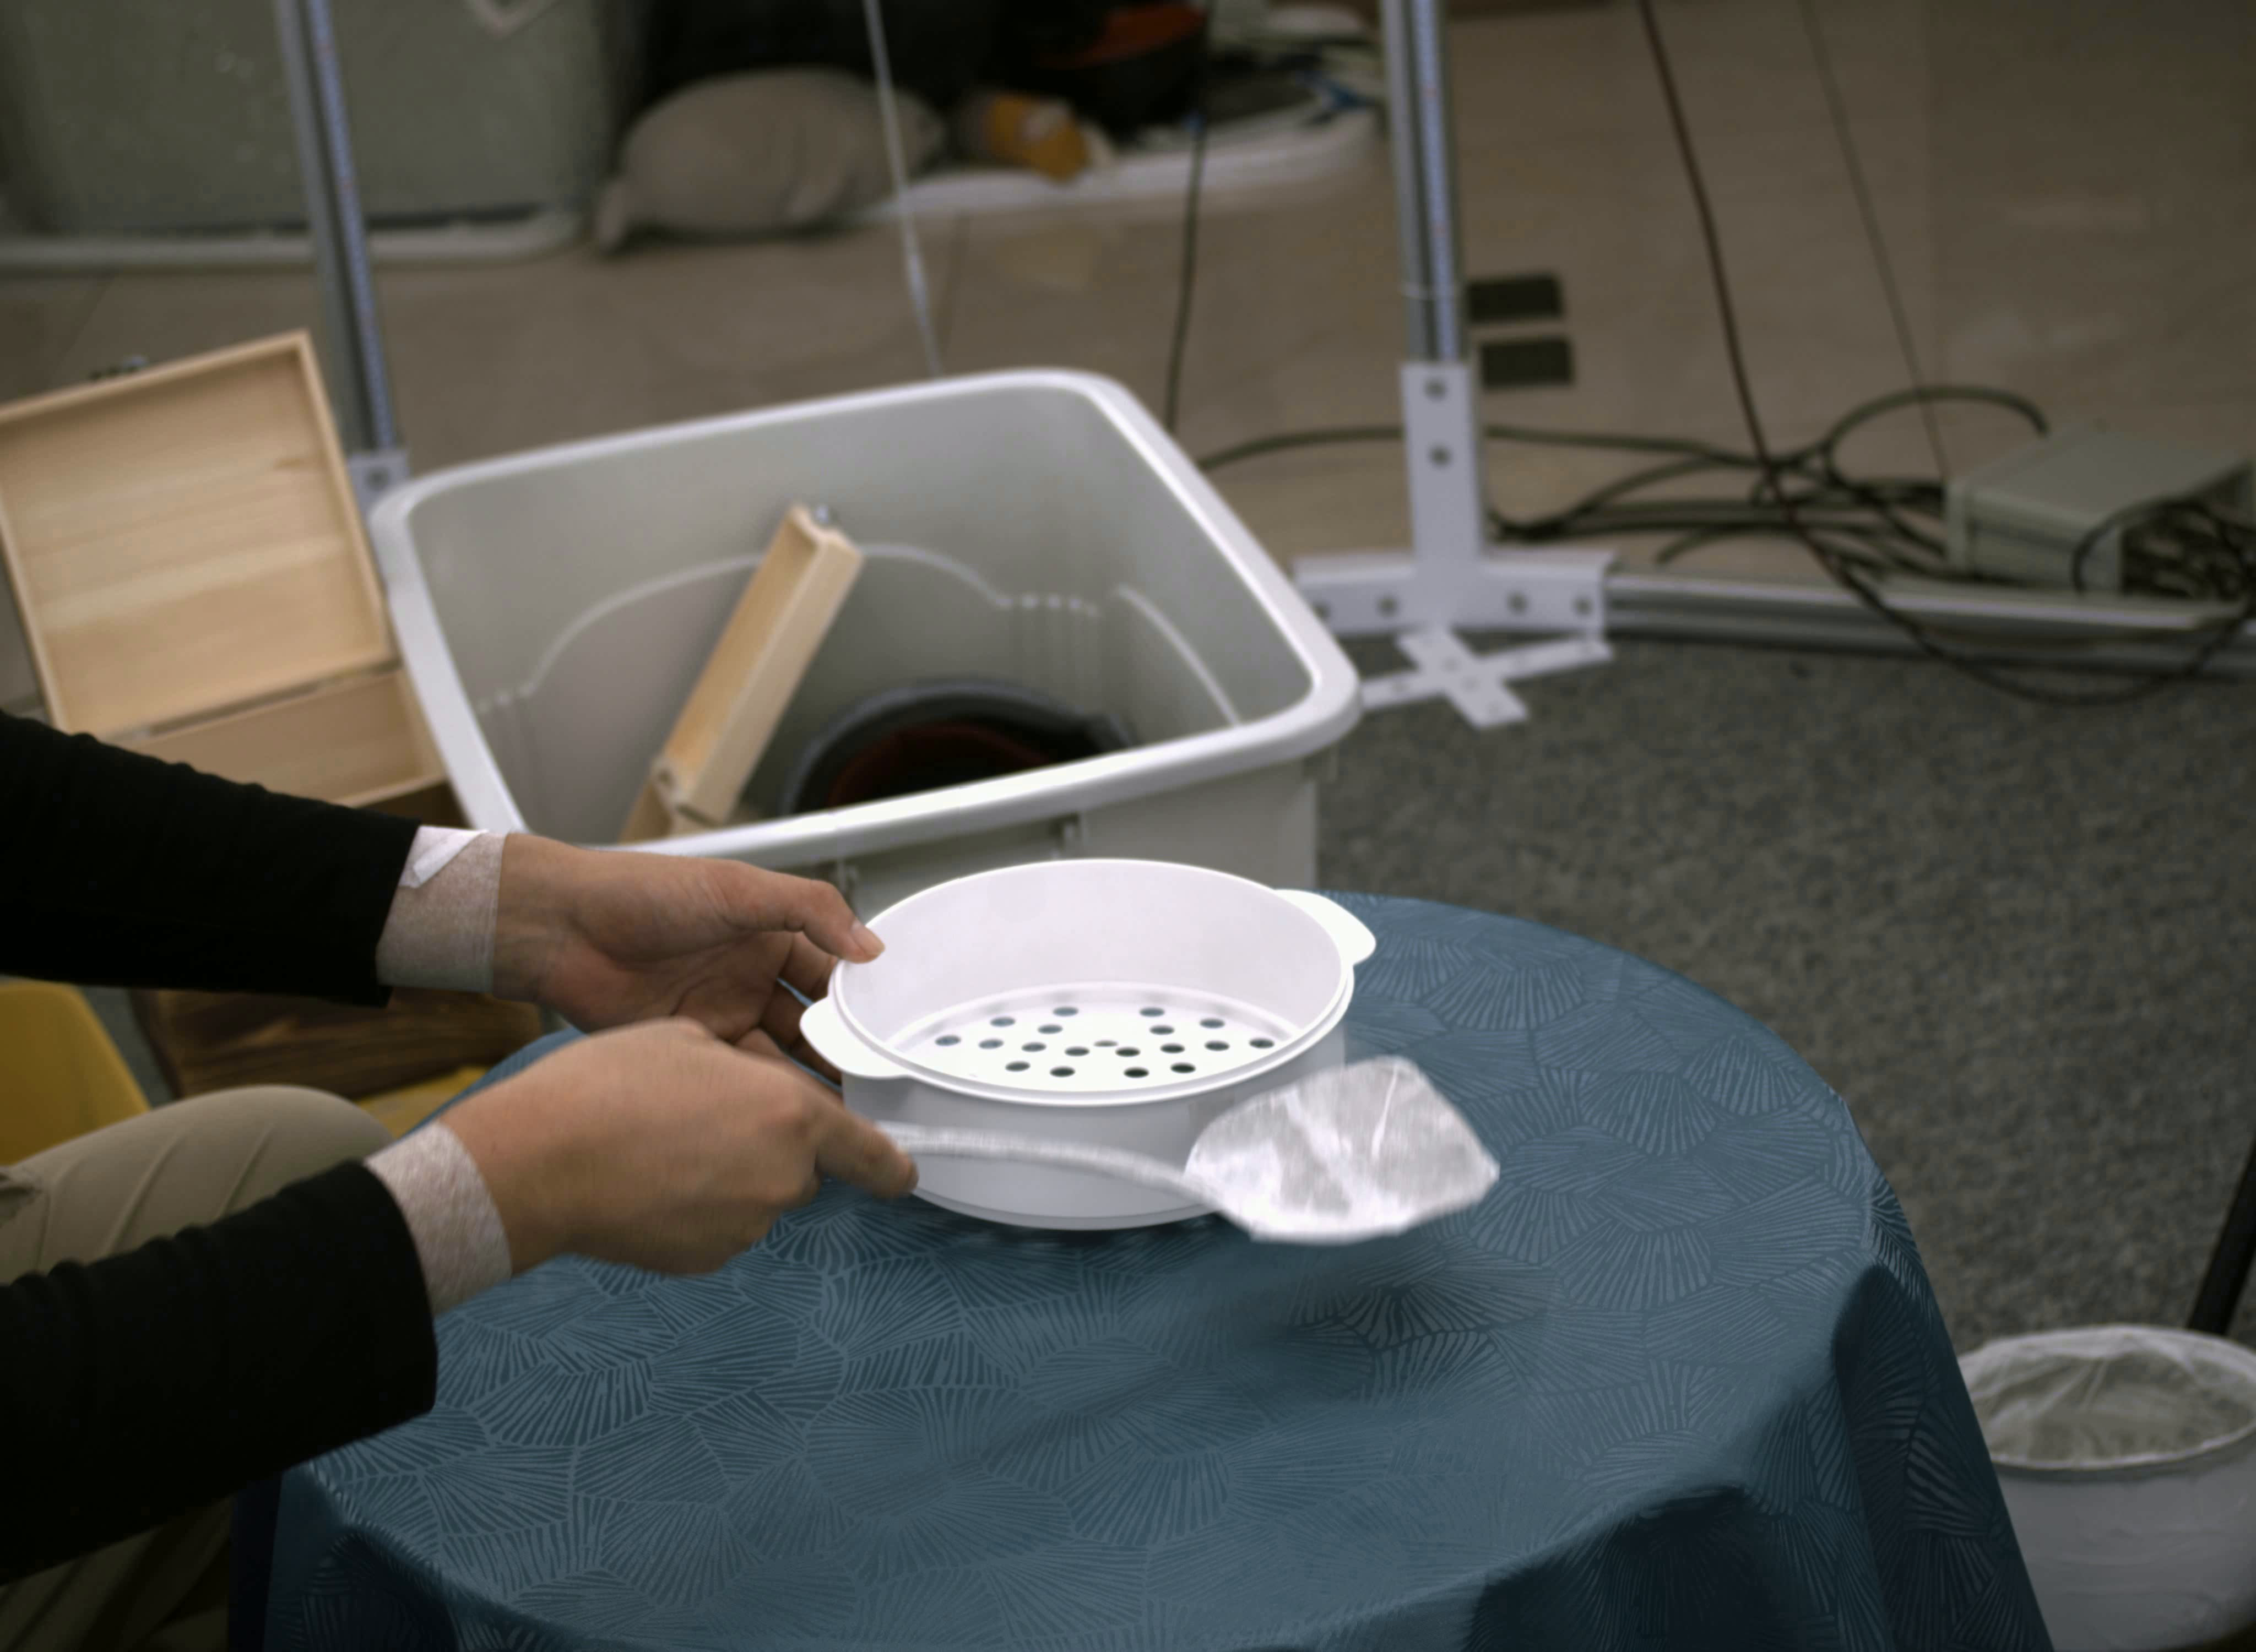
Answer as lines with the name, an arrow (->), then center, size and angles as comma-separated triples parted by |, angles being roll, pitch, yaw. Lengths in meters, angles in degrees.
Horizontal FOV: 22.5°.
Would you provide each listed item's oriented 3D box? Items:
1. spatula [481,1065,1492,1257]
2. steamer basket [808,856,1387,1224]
spatula -> -0.045, 0.112, 1.966 | 0.365, 0.045, 0.097 | 6, 30, -26
steamer basket -> -0.009, 0.083, 2.176 | 0.229, 0.070, 0.199 | -14, 27, -22
